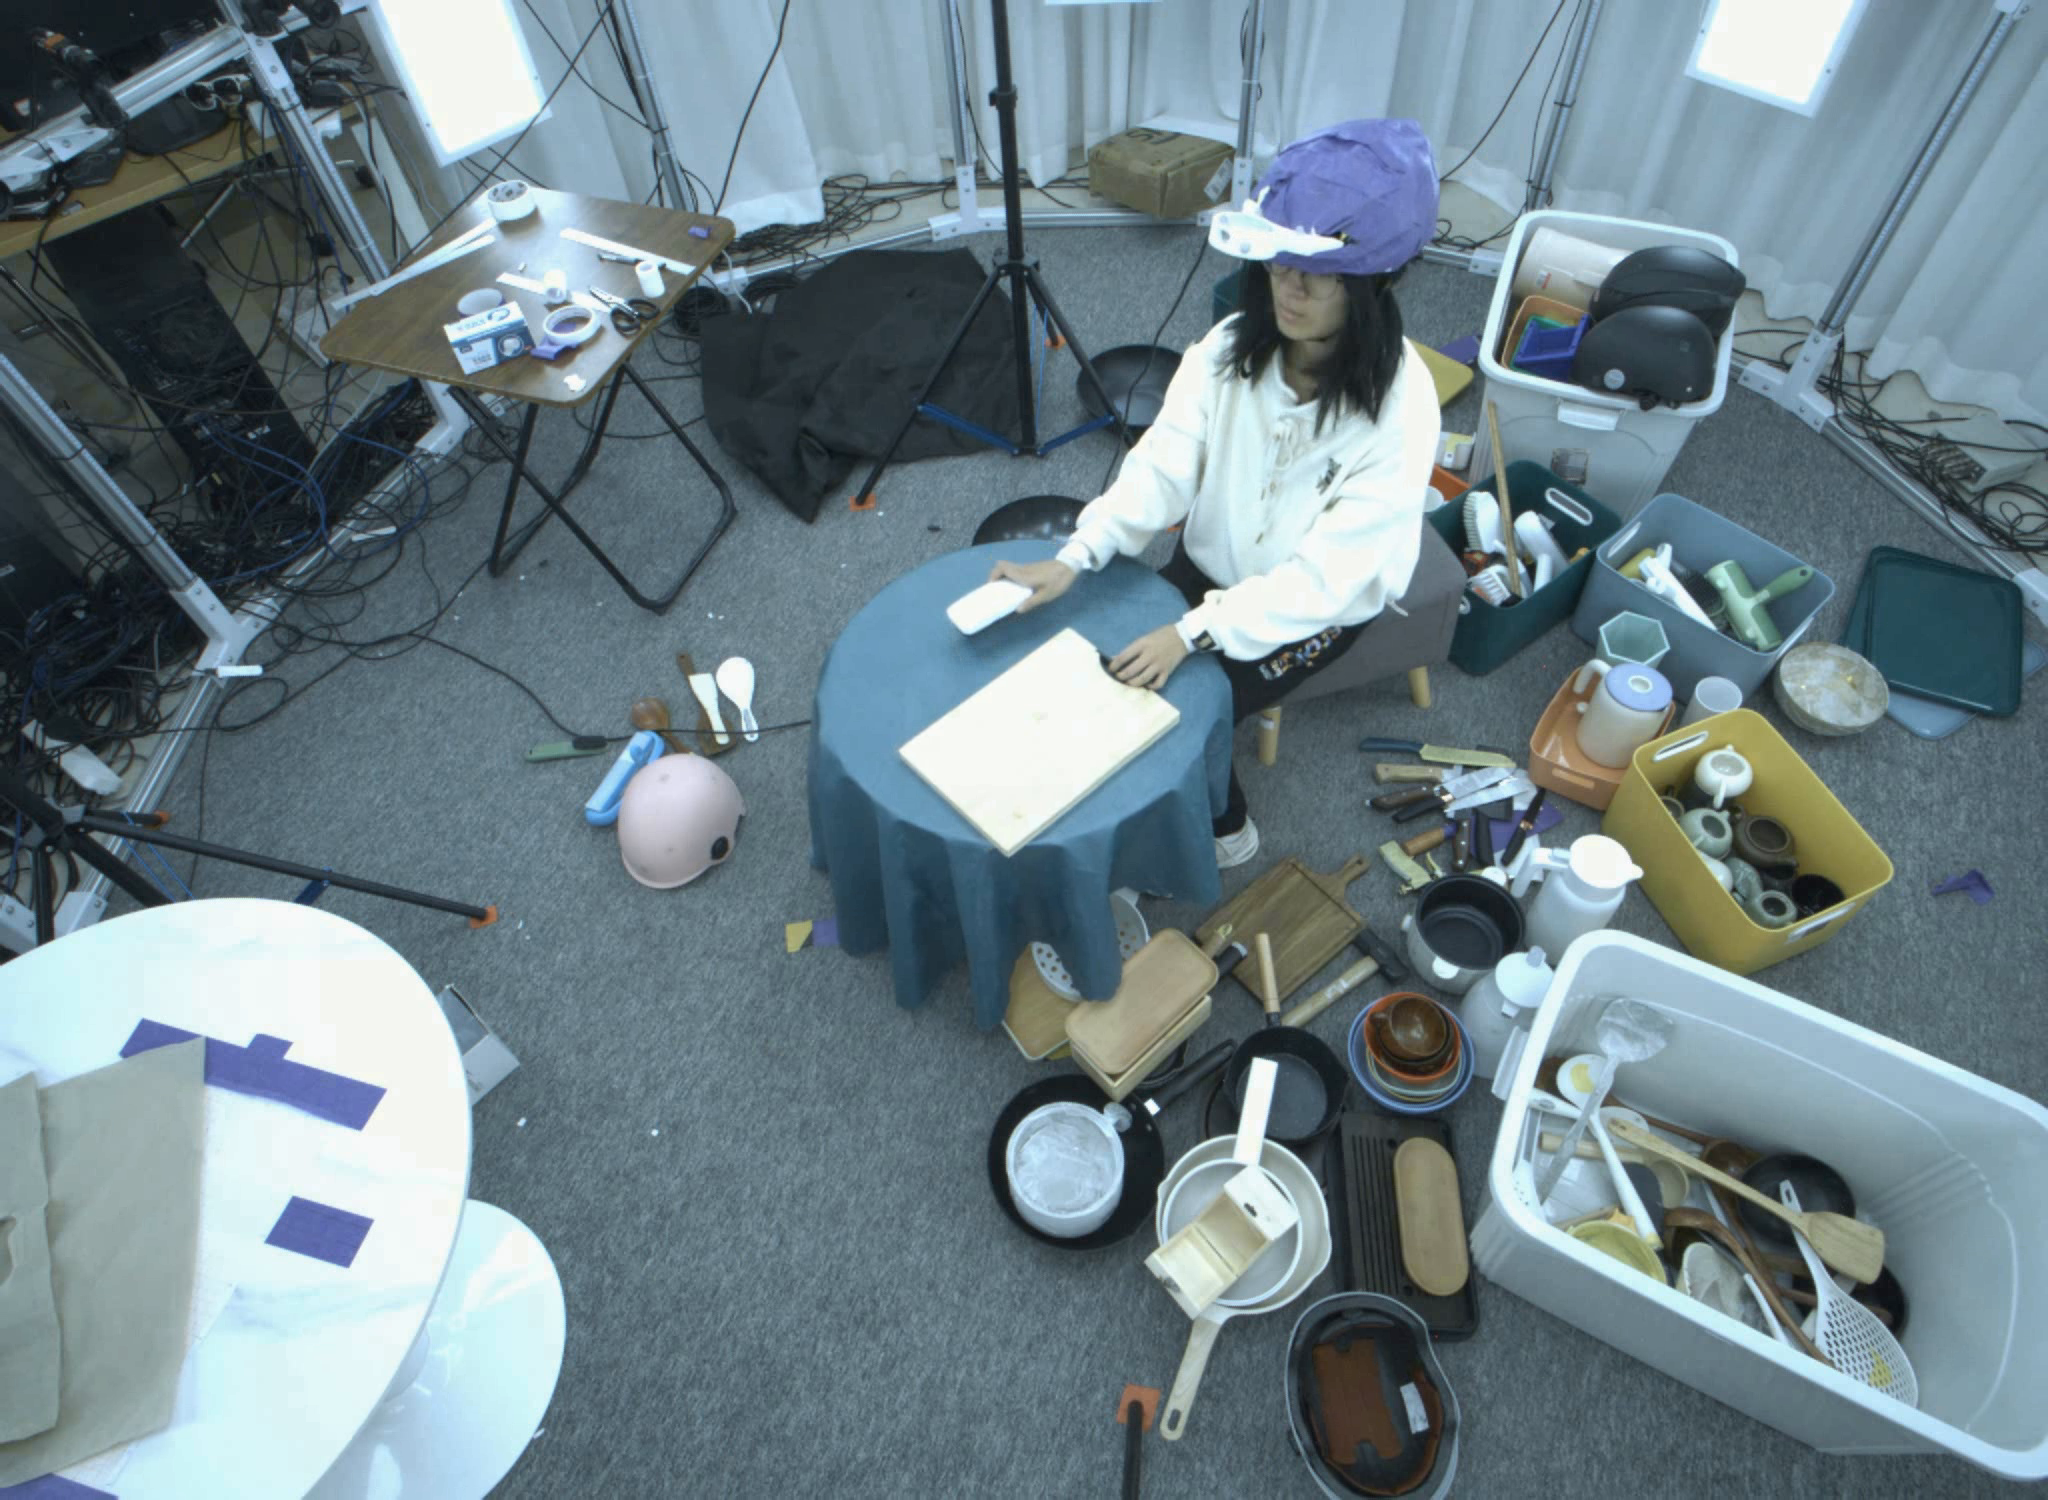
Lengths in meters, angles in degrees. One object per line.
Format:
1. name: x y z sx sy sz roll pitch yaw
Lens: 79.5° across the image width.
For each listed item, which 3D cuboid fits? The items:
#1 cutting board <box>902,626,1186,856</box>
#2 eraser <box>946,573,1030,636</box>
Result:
1. cutting board: 0.028 -0.023 1.794 0.351 0.024 0.246 -38 62 -22
2. eraser: -0.055 -0.227 1.894 0.132 0.035 0.062 -31 52 -15
